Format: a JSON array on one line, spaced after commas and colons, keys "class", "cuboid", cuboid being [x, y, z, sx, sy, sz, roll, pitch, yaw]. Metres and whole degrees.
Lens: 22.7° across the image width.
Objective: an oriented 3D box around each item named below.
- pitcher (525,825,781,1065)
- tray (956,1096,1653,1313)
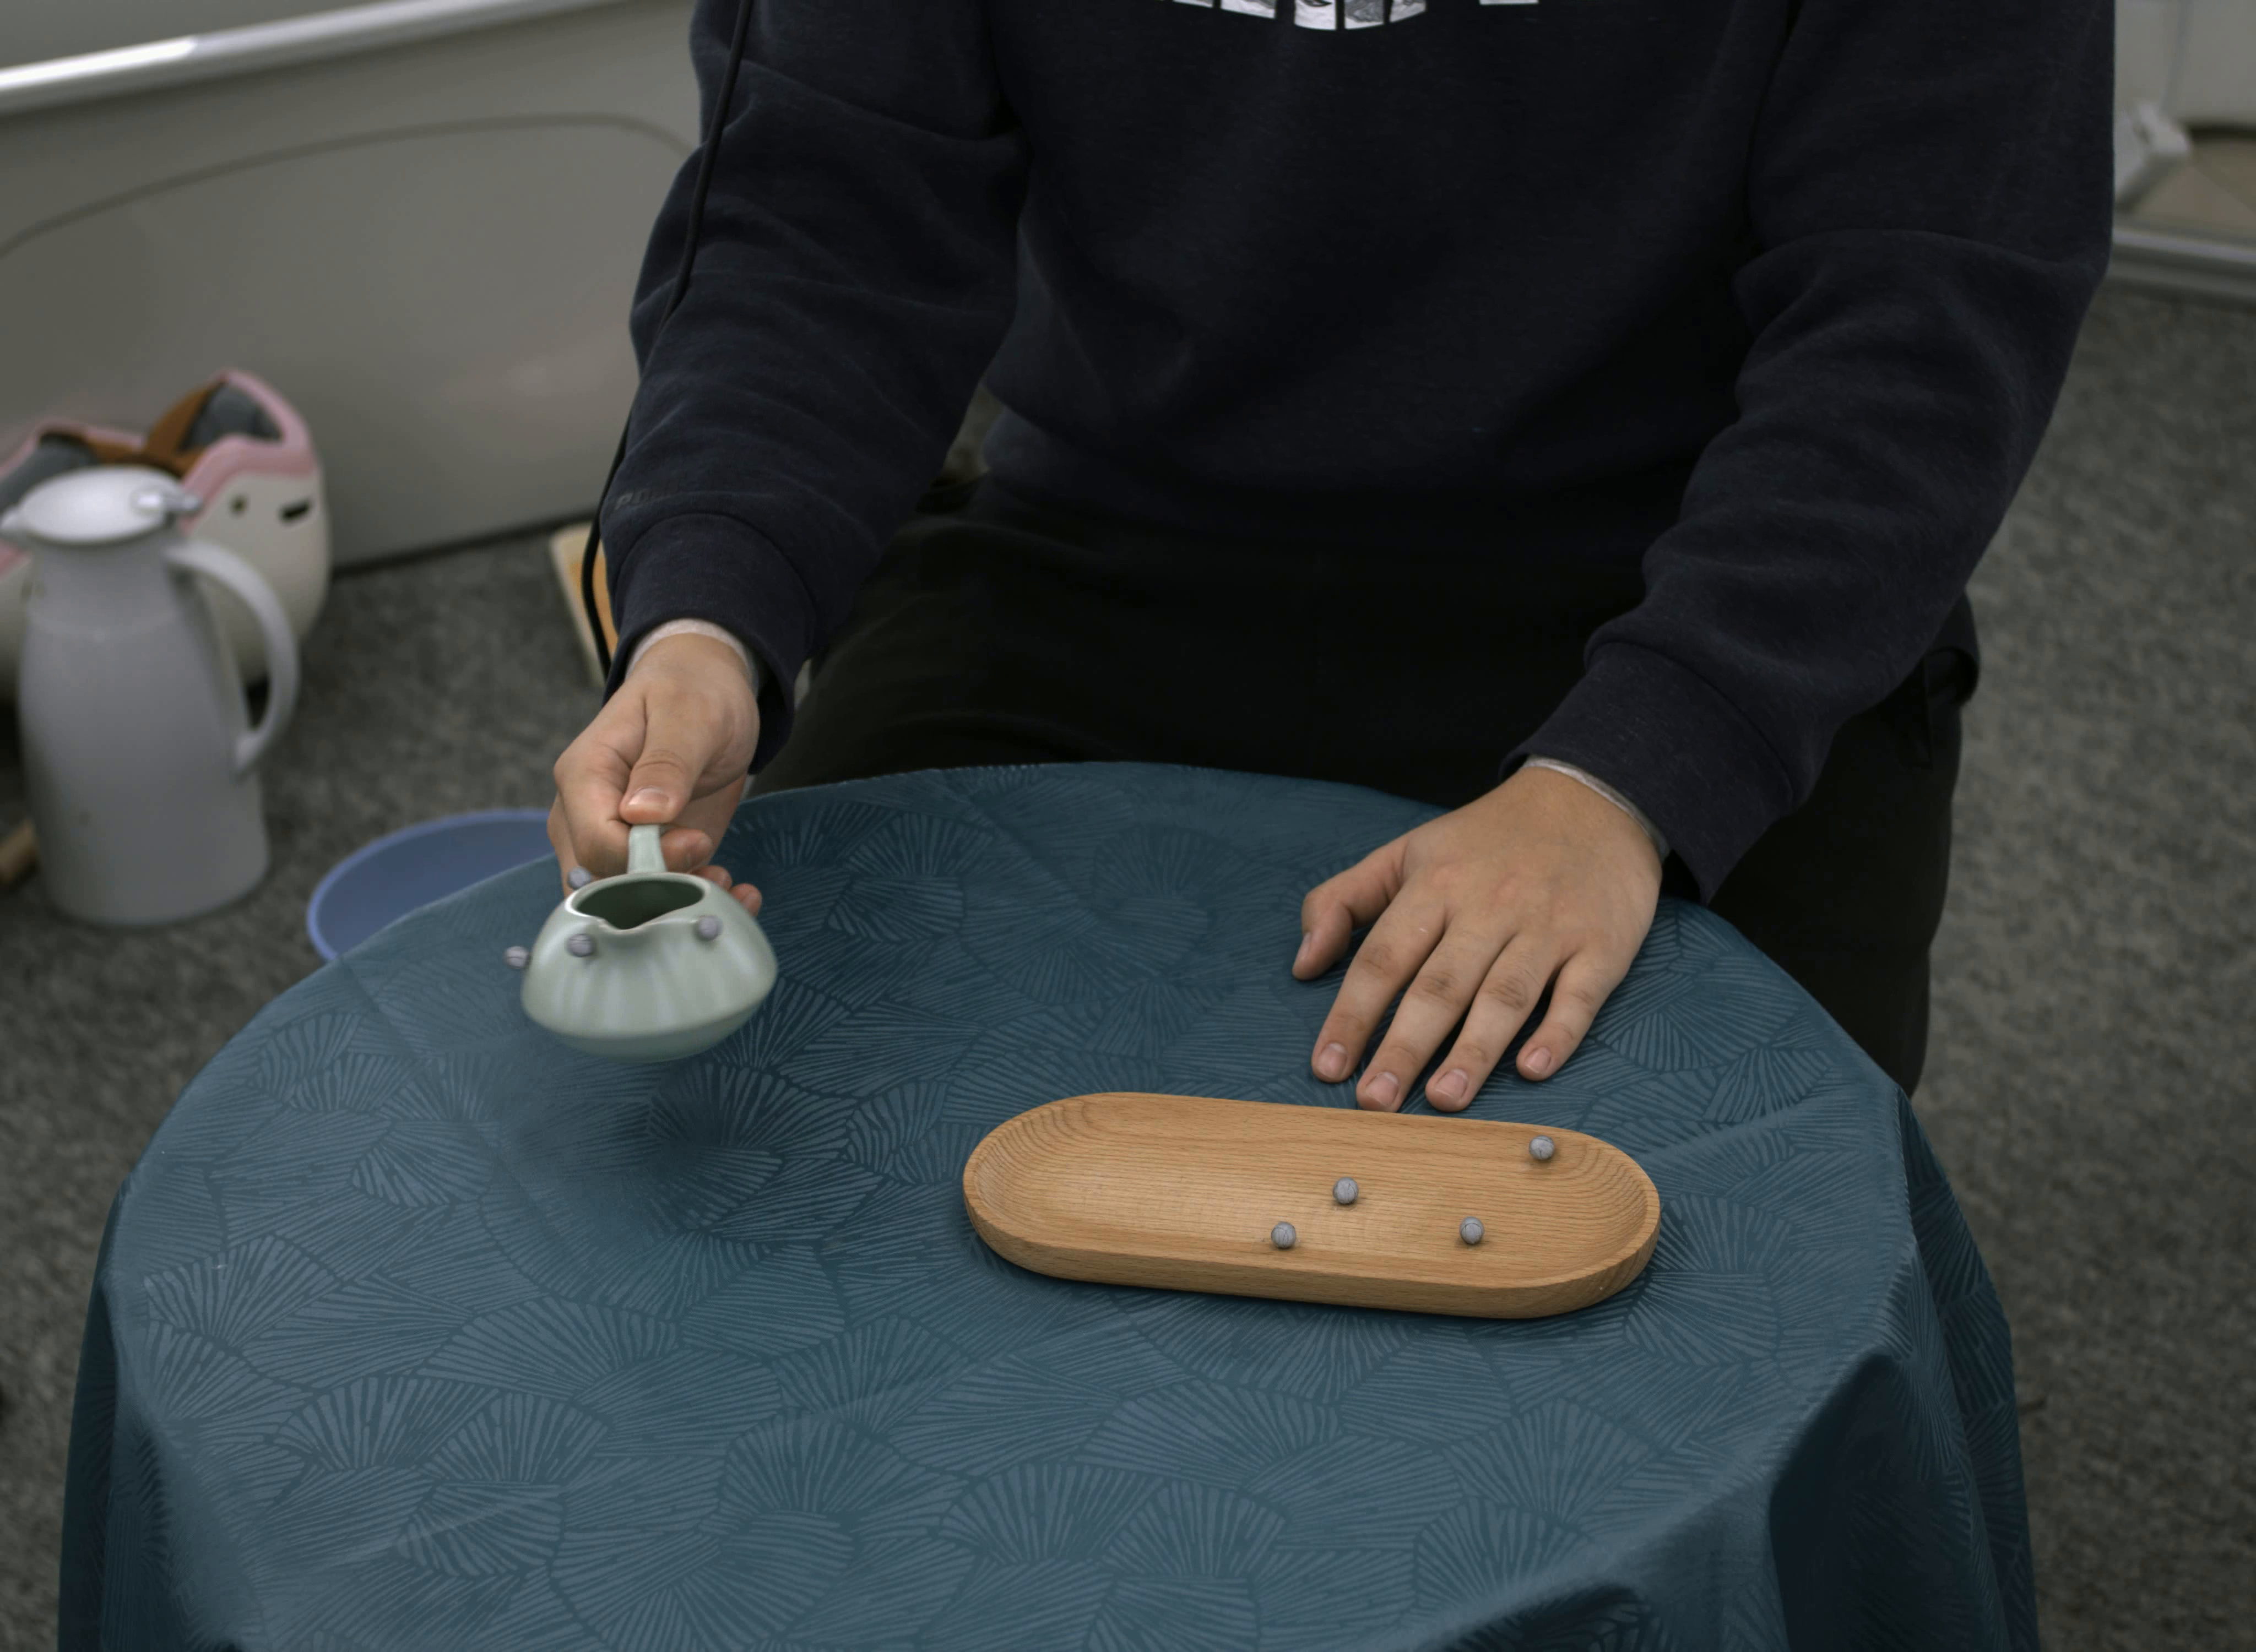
[{"class": "pitcher", "cuboid": [-0.160, 0.041, 1.892, 0.085, 0.060, 0.109, -4, 19, -2]}, {"class": "tray", "cuboid": [0.057, 0.124, 1.838, 0.229, 0.020, 0.103, 2, 26, 13]}]
